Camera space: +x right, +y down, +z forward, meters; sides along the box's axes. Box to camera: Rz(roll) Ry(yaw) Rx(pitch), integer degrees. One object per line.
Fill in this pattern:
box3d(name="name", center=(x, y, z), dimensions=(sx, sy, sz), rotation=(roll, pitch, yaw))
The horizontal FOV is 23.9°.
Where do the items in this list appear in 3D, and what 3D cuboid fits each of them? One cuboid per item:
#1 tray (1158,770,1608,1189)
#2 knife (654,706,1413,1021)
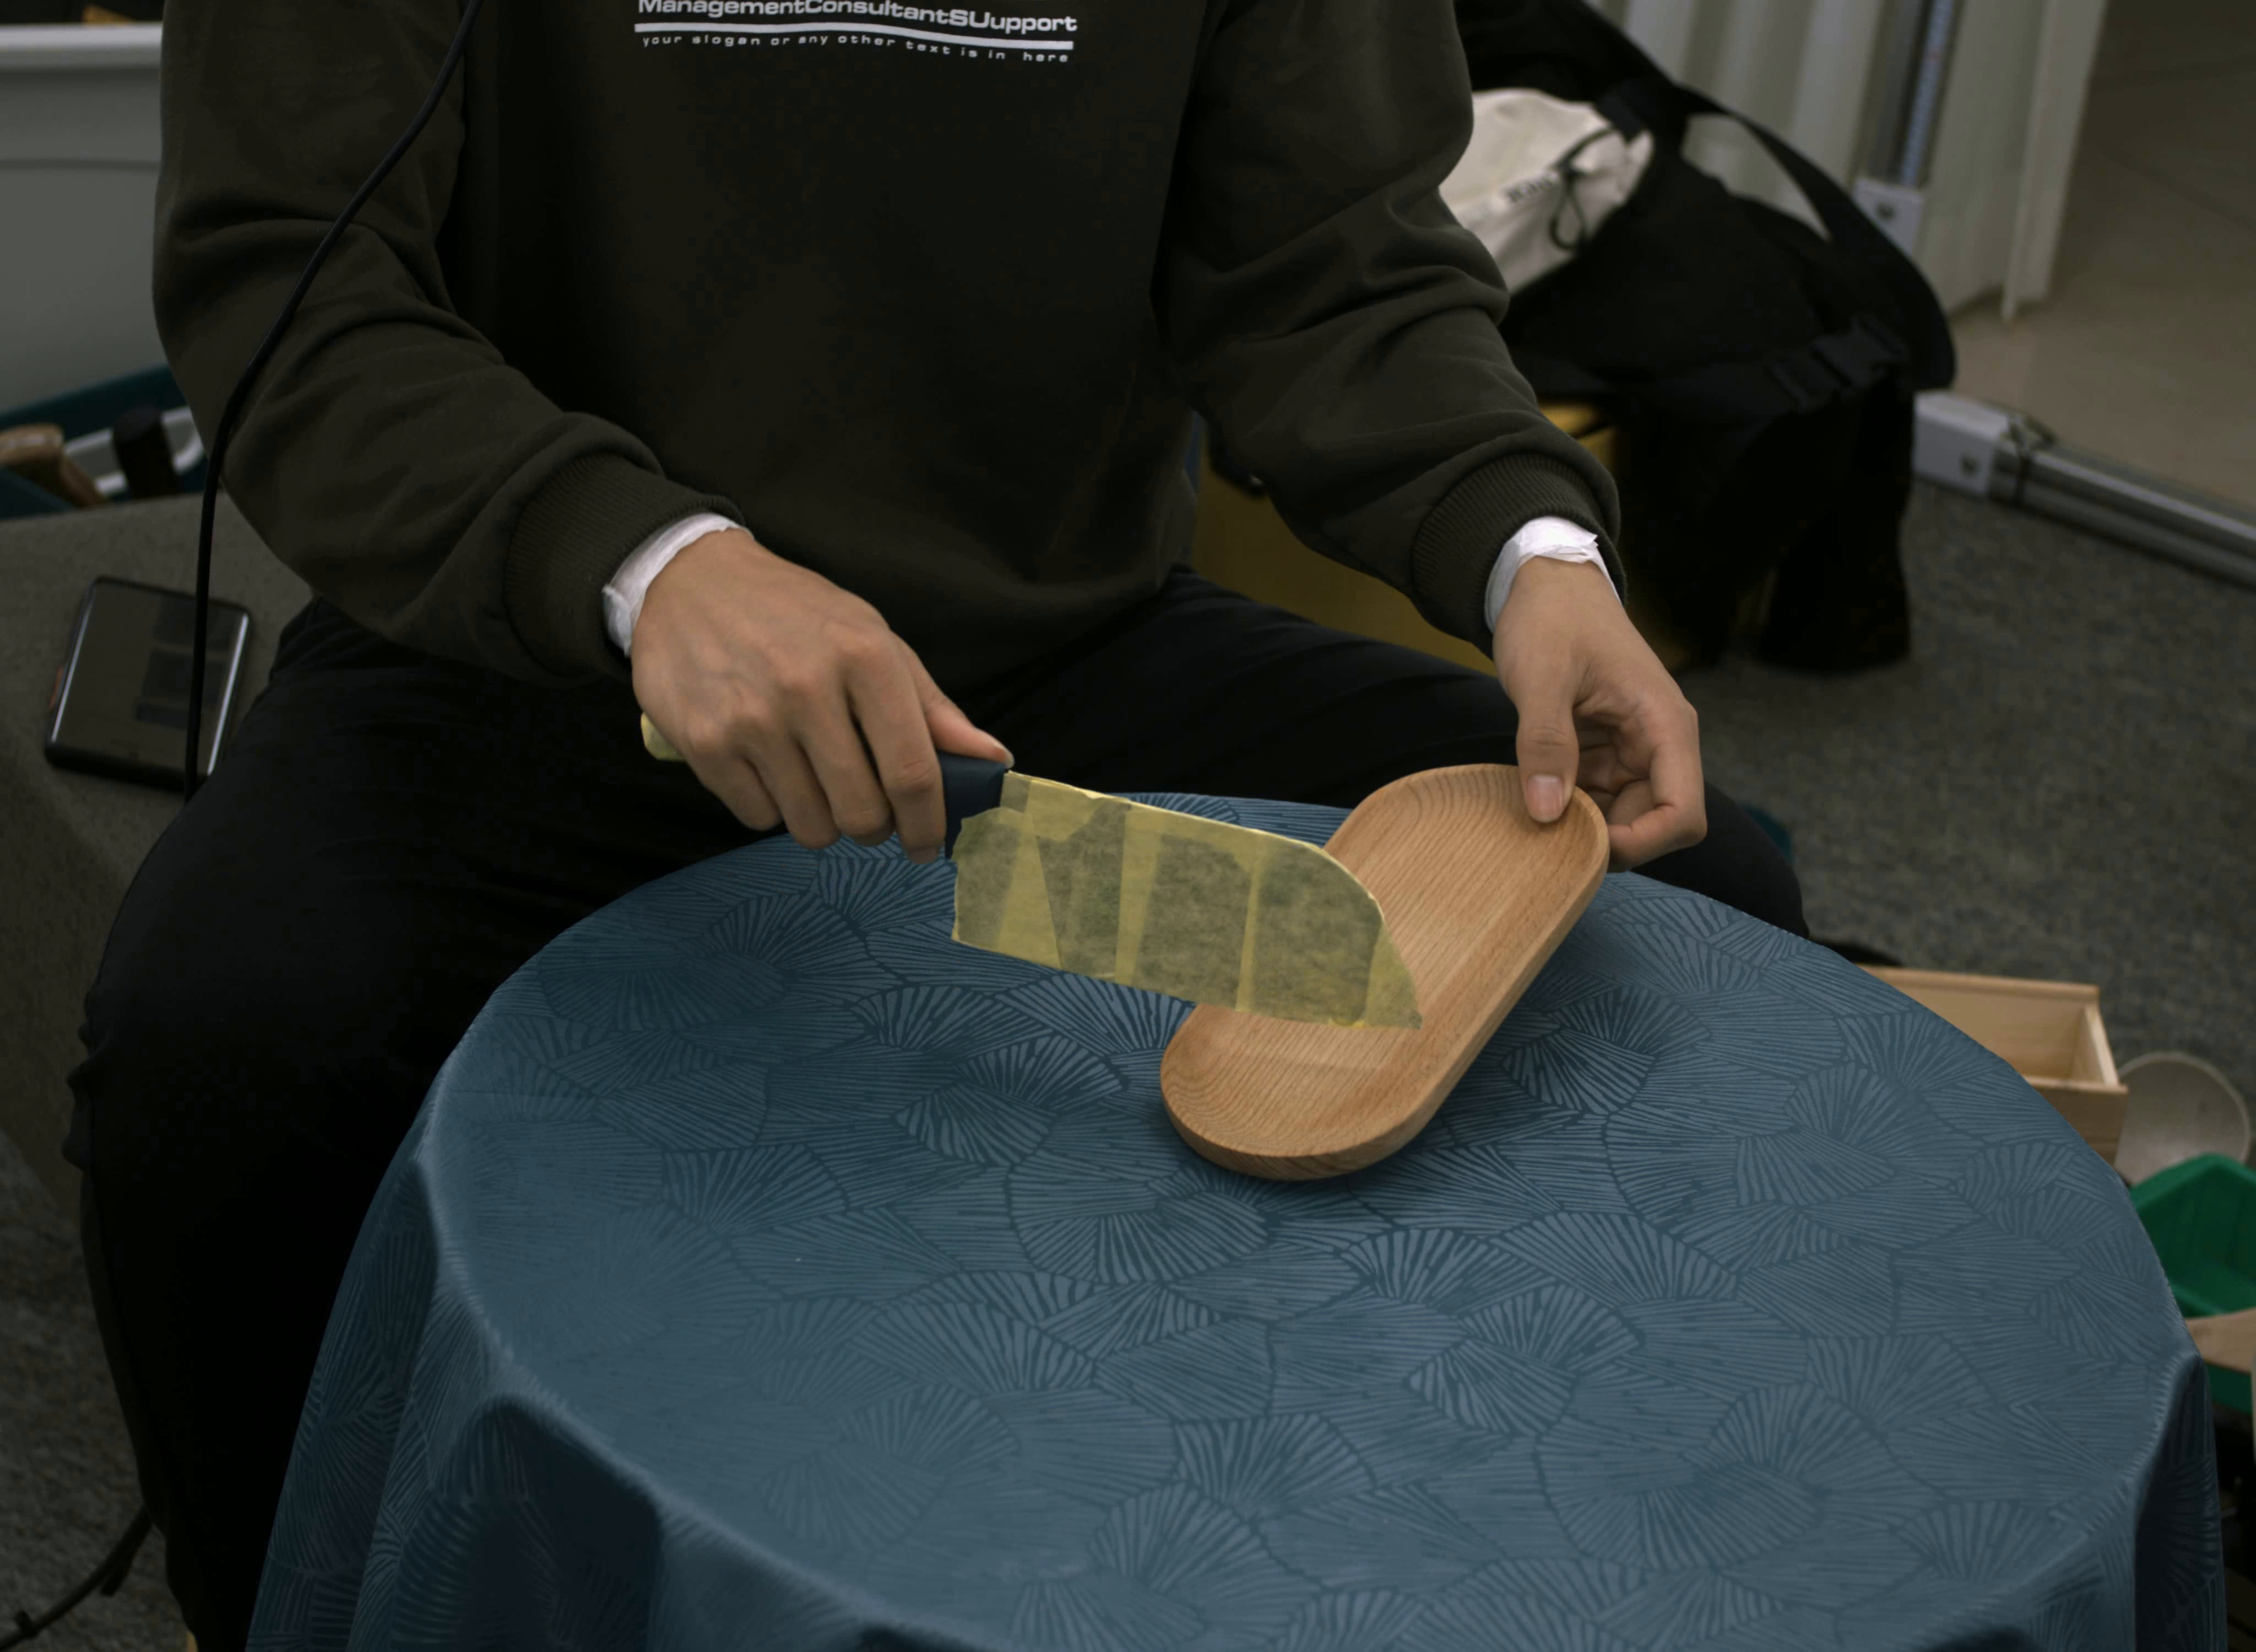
box3d(name="tray", center=(0.093, 0.052, 1.888), dimensions=(0.102, 0.020, 0.231), rotation=(12, 42, 28))
box3d(name="knife", center=(-0.035, 0.012, 1.862), dimensions=(0.290, 0.081, 0.027), rotation=(16, 27, 16))
